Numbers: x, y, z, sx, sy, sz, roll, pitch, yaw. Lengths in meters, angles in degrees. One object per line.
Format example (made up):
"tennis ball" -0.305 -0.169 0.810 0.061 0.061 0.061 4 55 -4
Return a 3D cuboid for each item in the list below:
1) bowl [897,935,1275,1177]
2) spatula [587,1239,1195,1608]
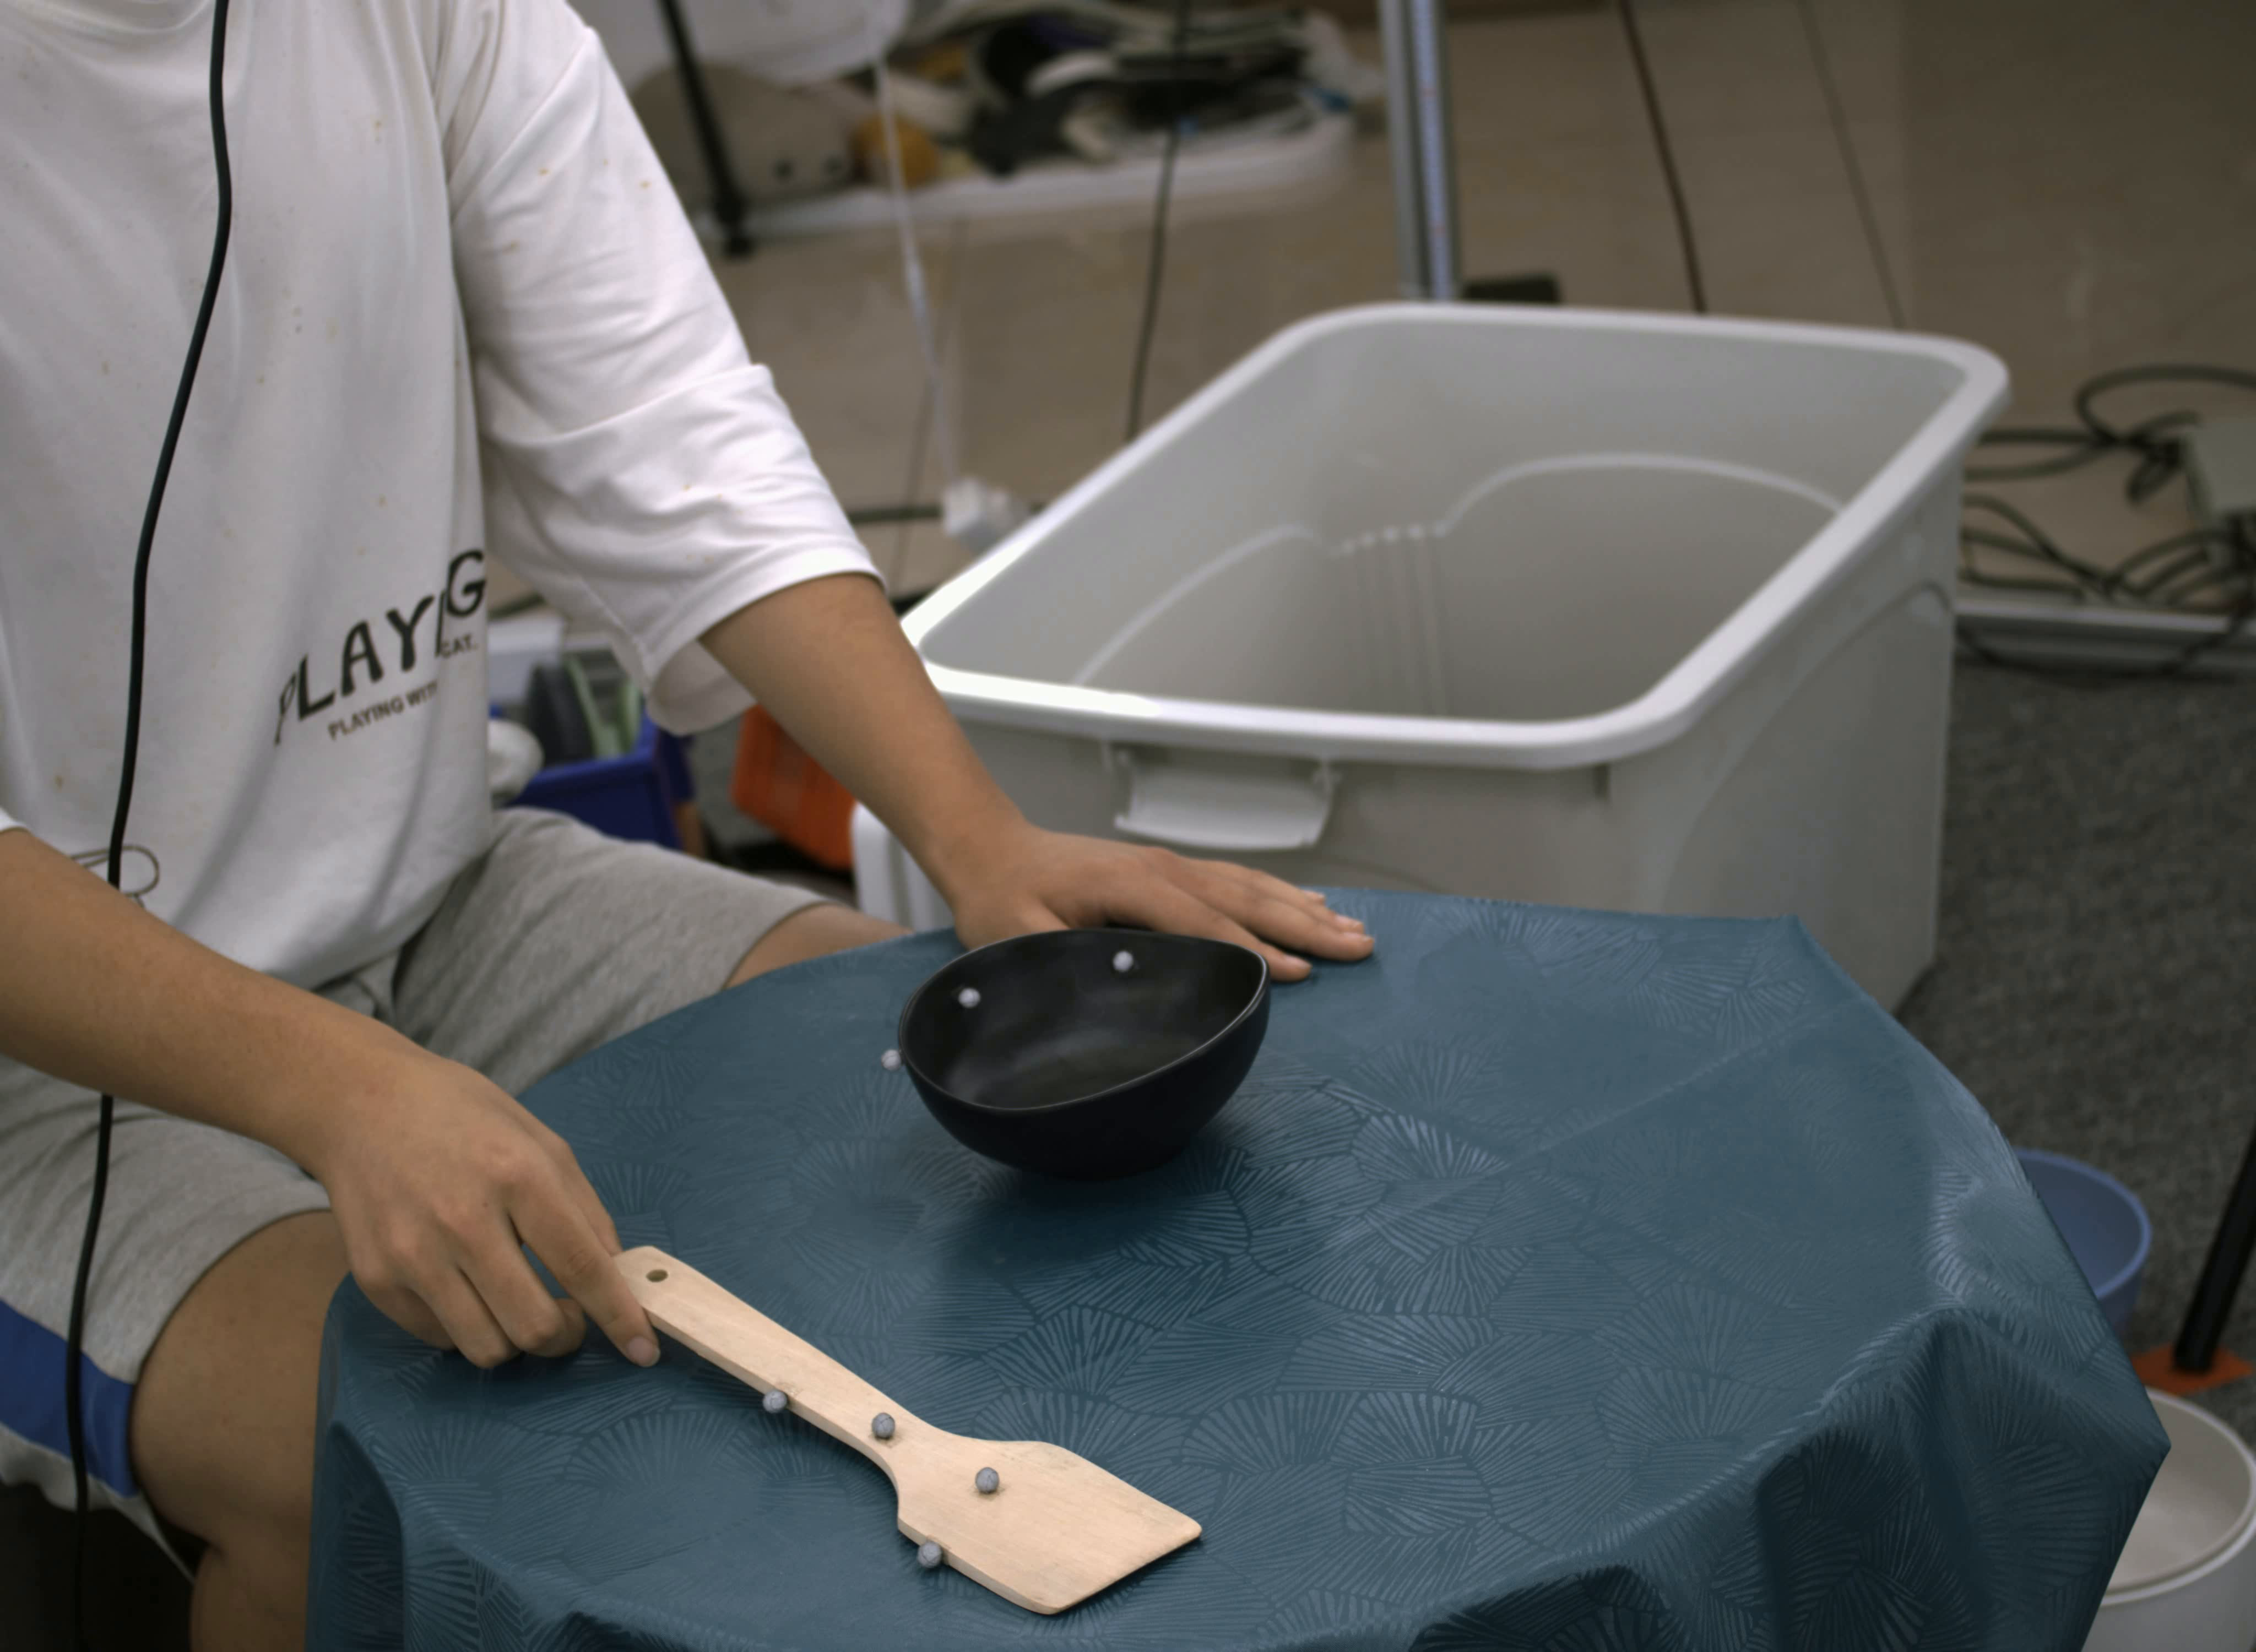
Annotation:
"bowl" -0.013 0.092 2.174 0.137 0.068 0.168 6 25 26
"spatula" -0.097 0.205 2.000 0.072 0.011 0.290 -25 35 -35
